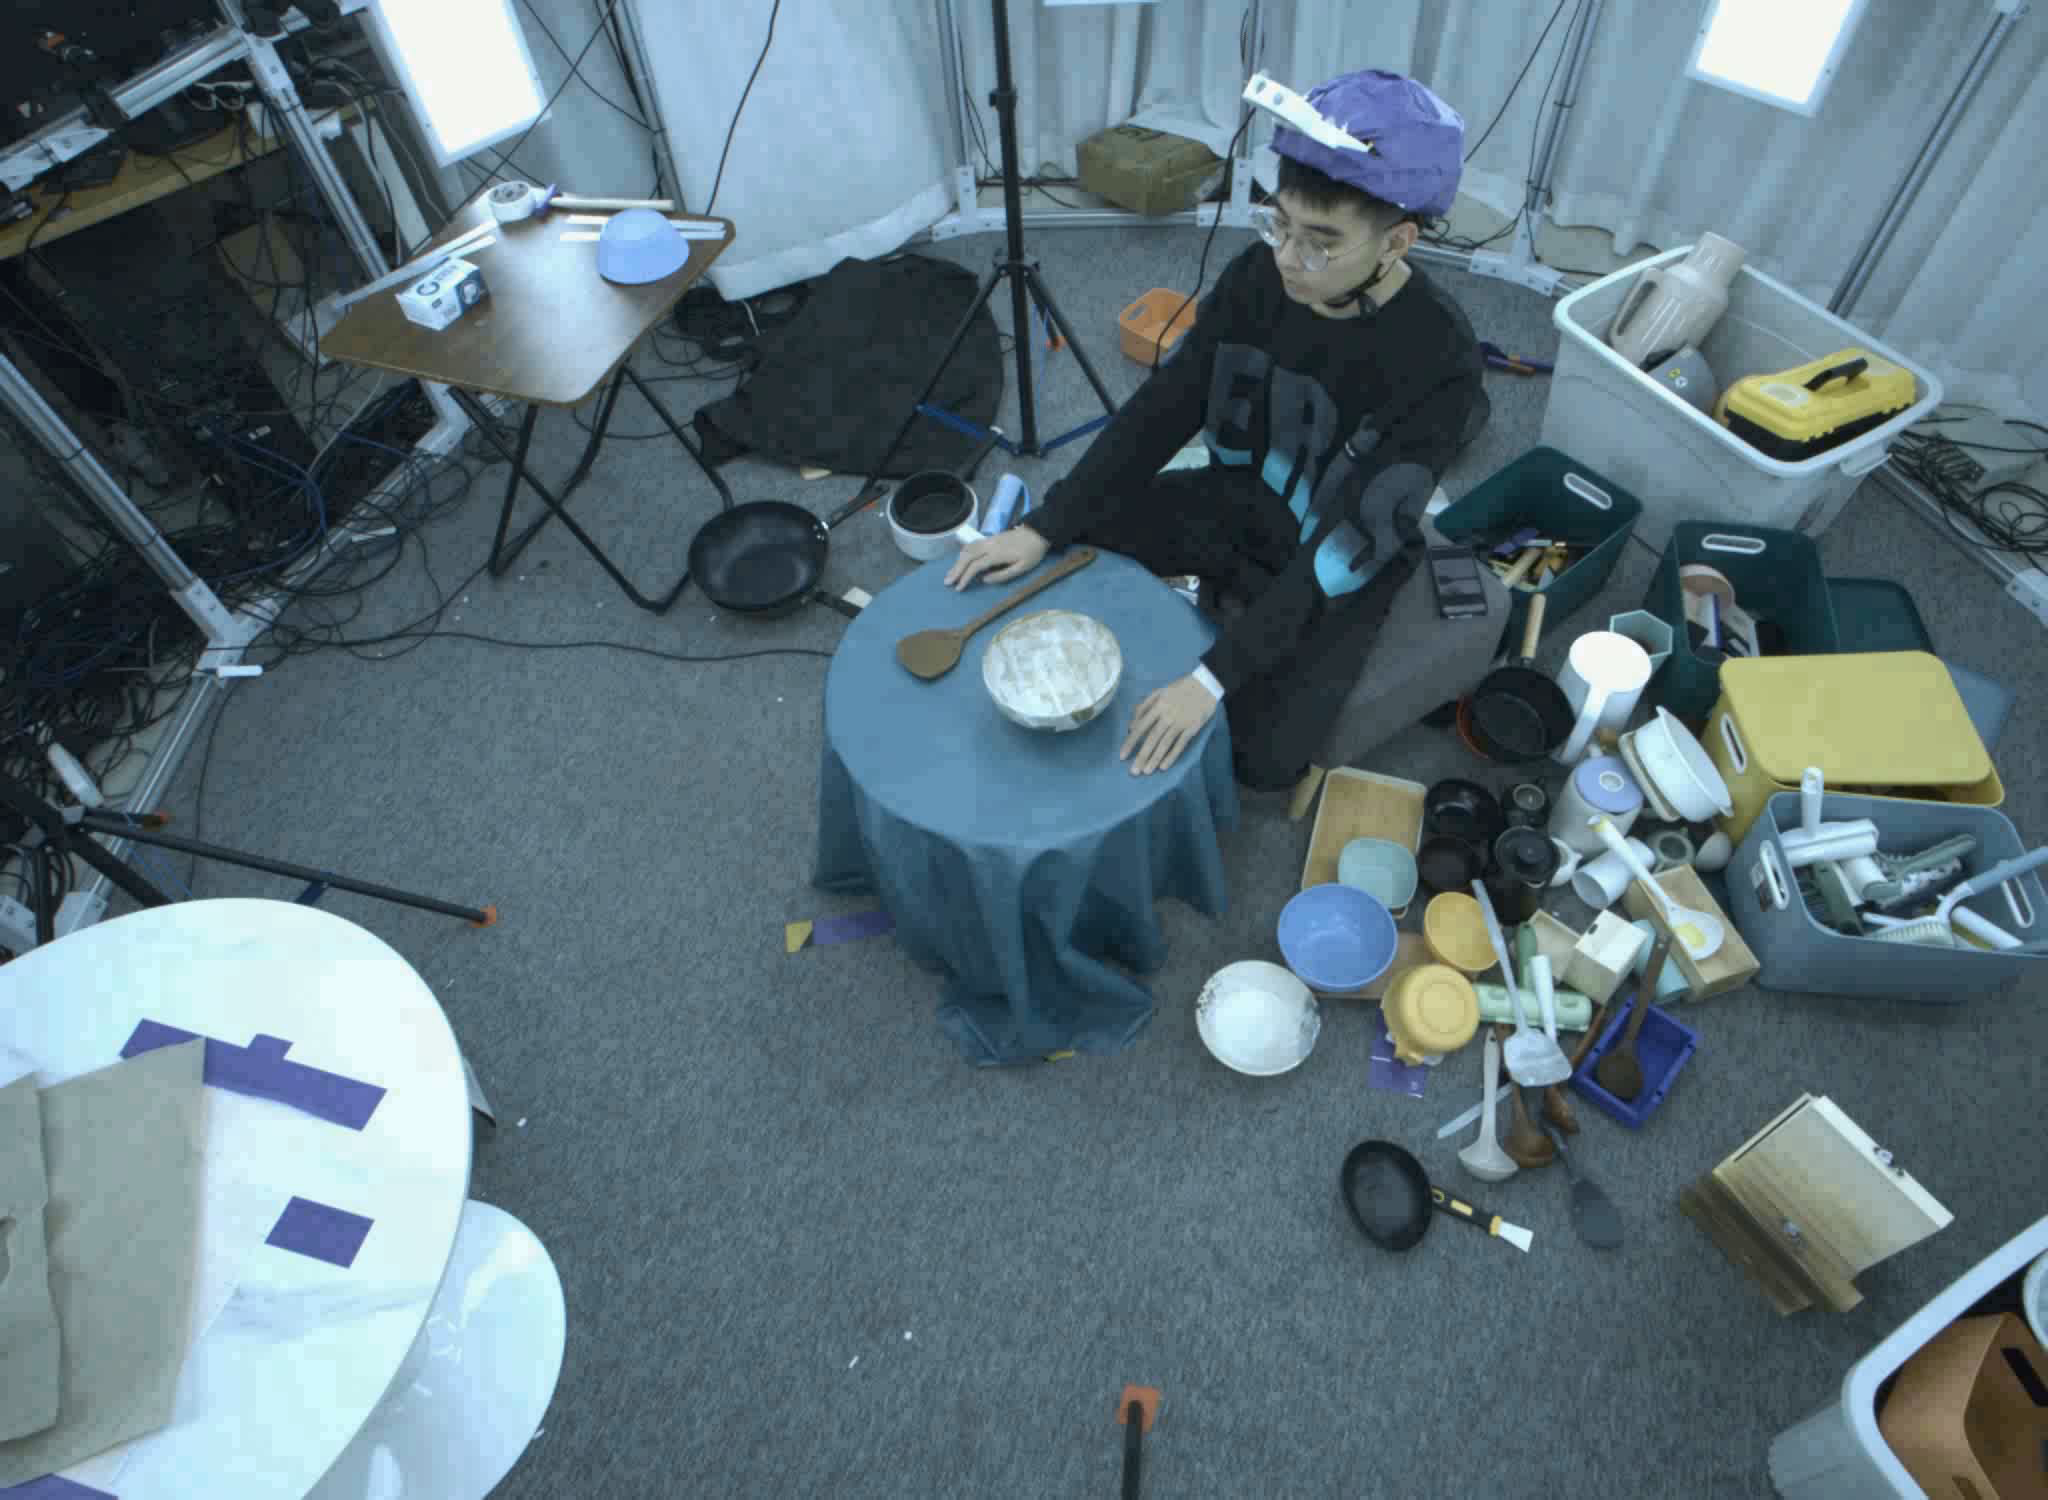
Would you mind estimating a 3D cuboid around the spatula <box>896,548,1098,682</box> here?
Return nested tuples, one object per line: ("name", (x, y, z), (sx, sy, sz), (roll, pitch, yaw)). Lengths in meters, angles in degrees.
("spatula", (-0.031, -0.226, 1.949), (0.389, 0.016, 0.094), (-35, 61, -21))

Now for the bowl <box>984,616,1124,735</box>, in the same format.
("bowl", (0.048, -0.096, 1.807), (0.214, 0.095, 0.212), (0, 53, 2))
